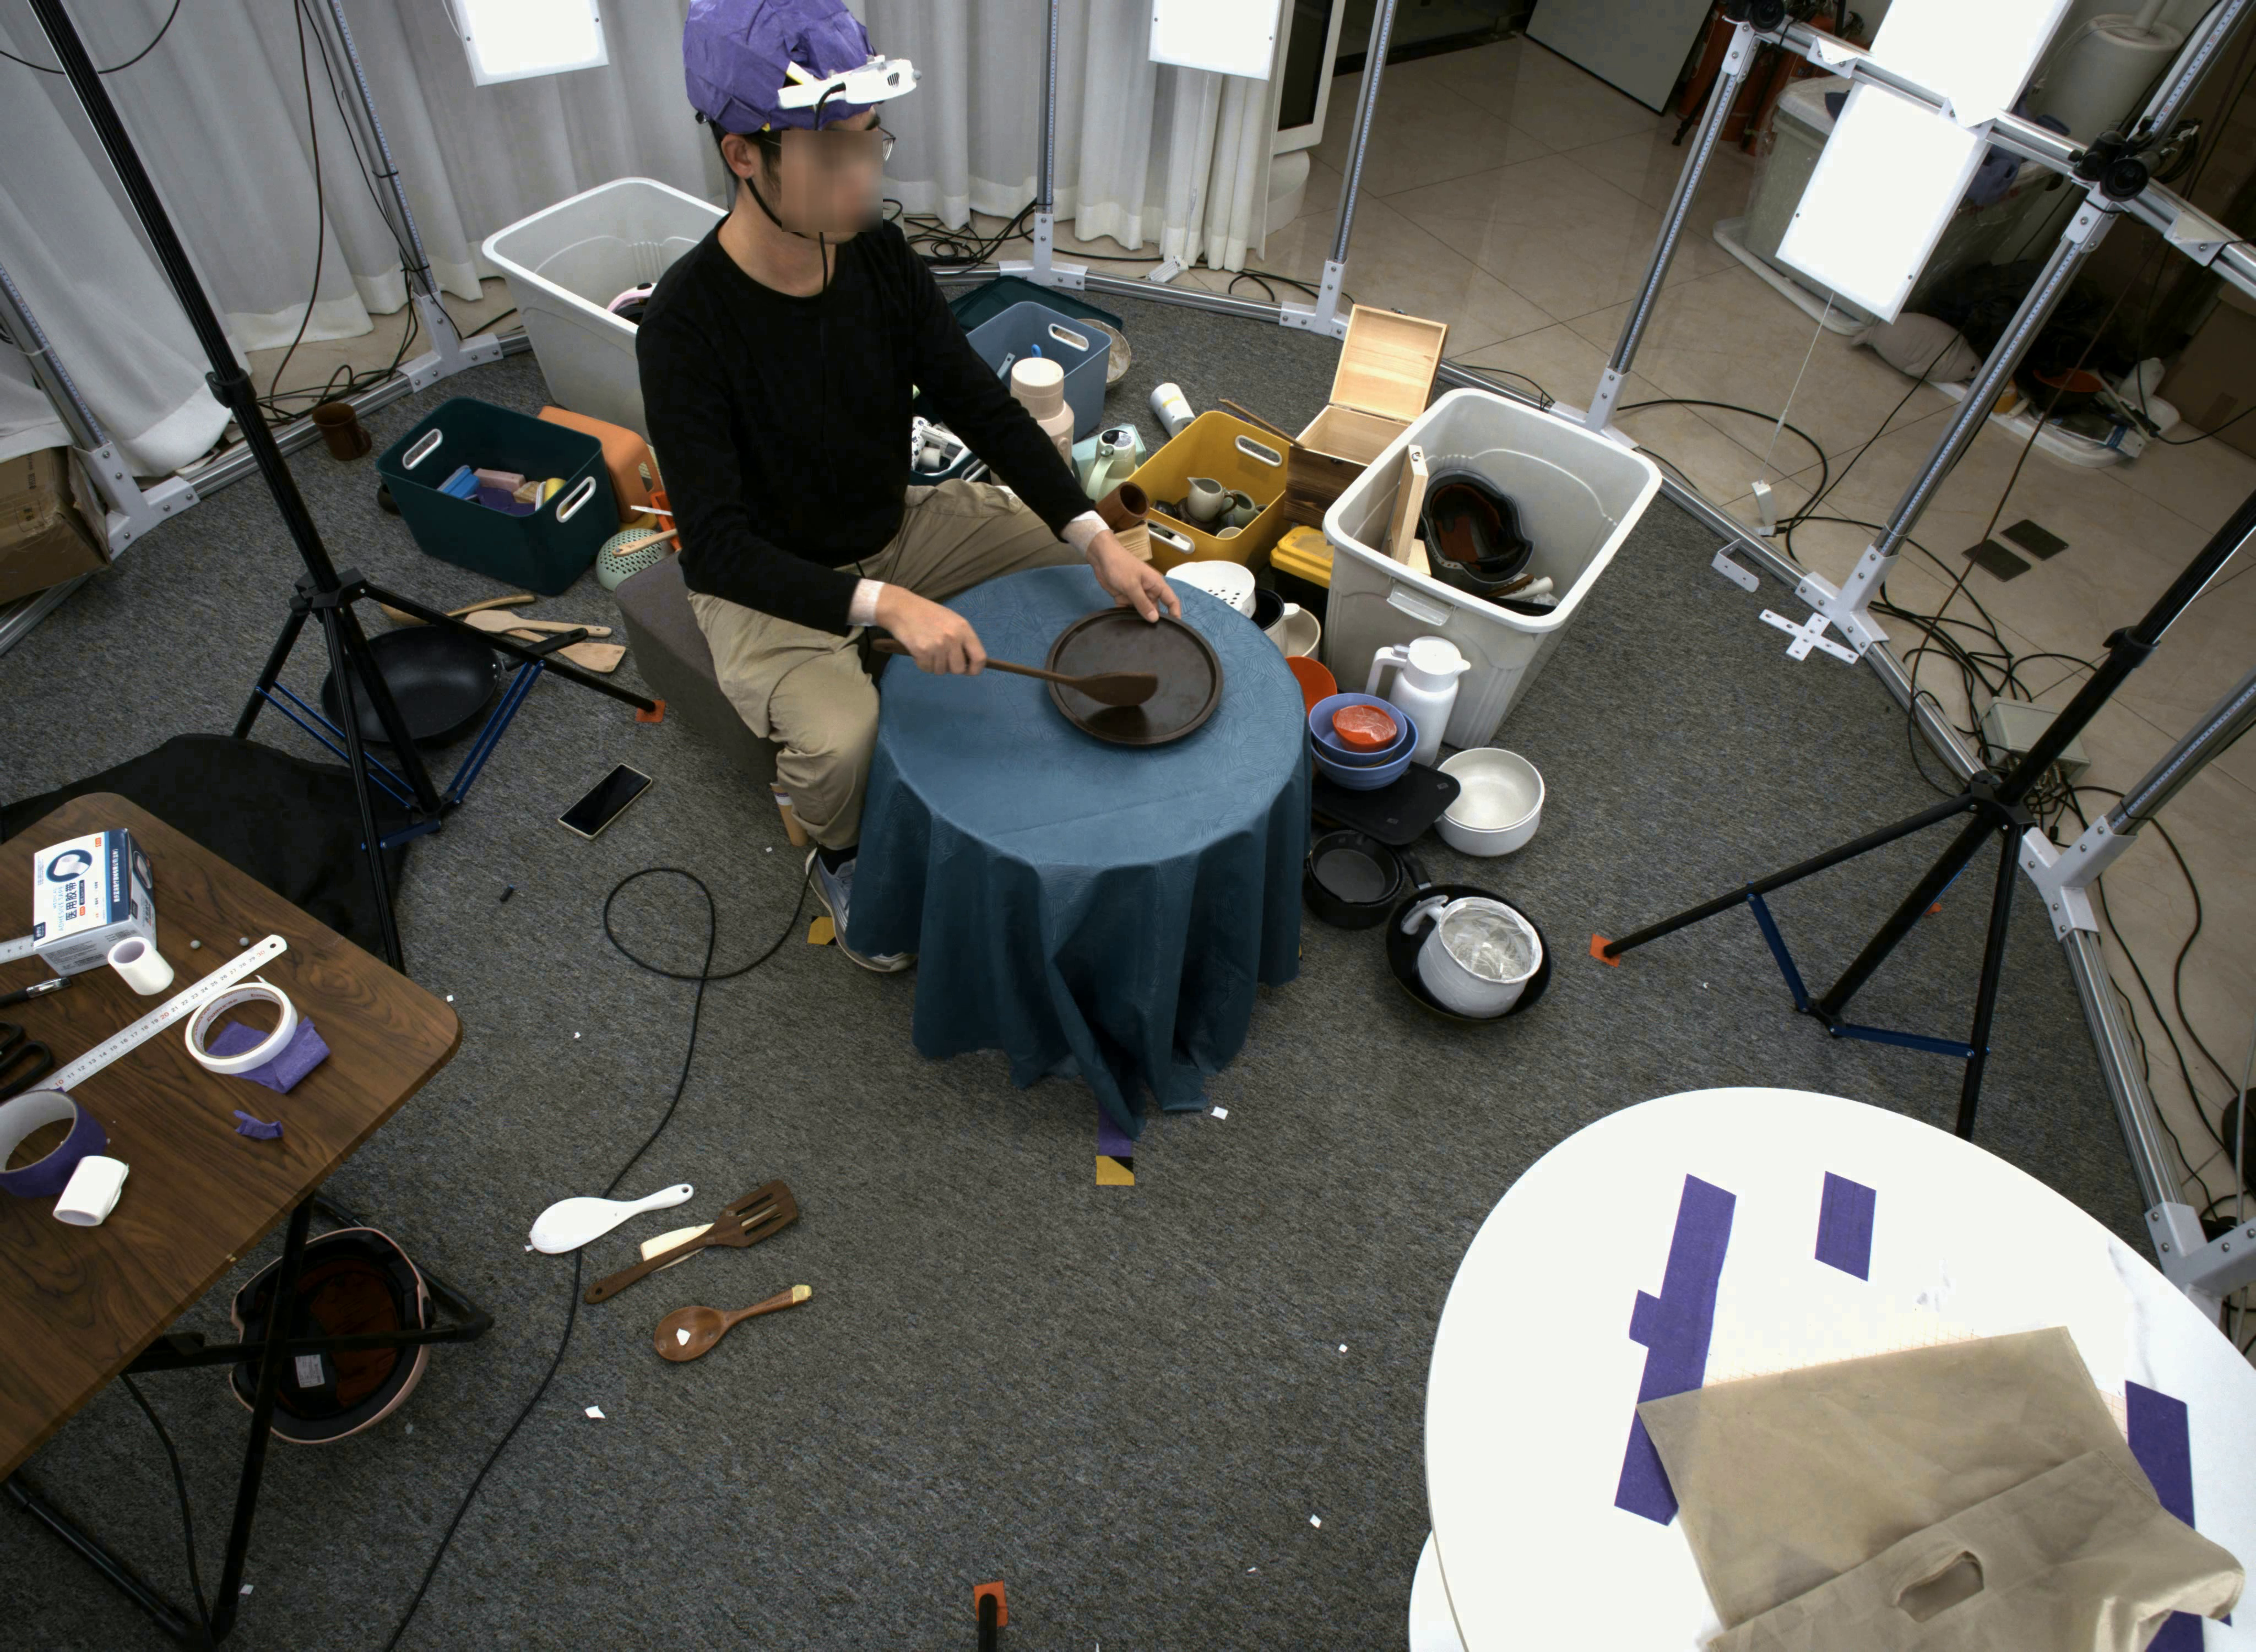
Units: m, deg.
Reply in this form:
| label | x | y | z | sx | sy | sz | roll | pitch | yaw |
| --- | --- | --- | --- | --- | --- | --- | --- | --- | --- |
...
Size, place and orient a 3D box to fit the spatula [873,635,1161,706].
| label | x | y | z | sx | sy | sz | roll | pitch | yaw |
| --- | --- | --- | --- | --- | --- | --- | --- | --- | --- |
| spatula | -0.144 | -0.211 | 1.715 | 0.384 | 0.094 | 0.016 | 10 | 66 | -12 |

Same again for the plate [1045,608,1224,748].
| label | x | y | z | sx | sy | sz | roll | pitch | yaw |
| --- | --- | --- | --- | --- | --- | --- | --- | --- | --- |
| plate | 0.009 | -0.212 | 1.823 | 0.254 | 0.028 | 0.261 | 2 | 56 | -3 |
